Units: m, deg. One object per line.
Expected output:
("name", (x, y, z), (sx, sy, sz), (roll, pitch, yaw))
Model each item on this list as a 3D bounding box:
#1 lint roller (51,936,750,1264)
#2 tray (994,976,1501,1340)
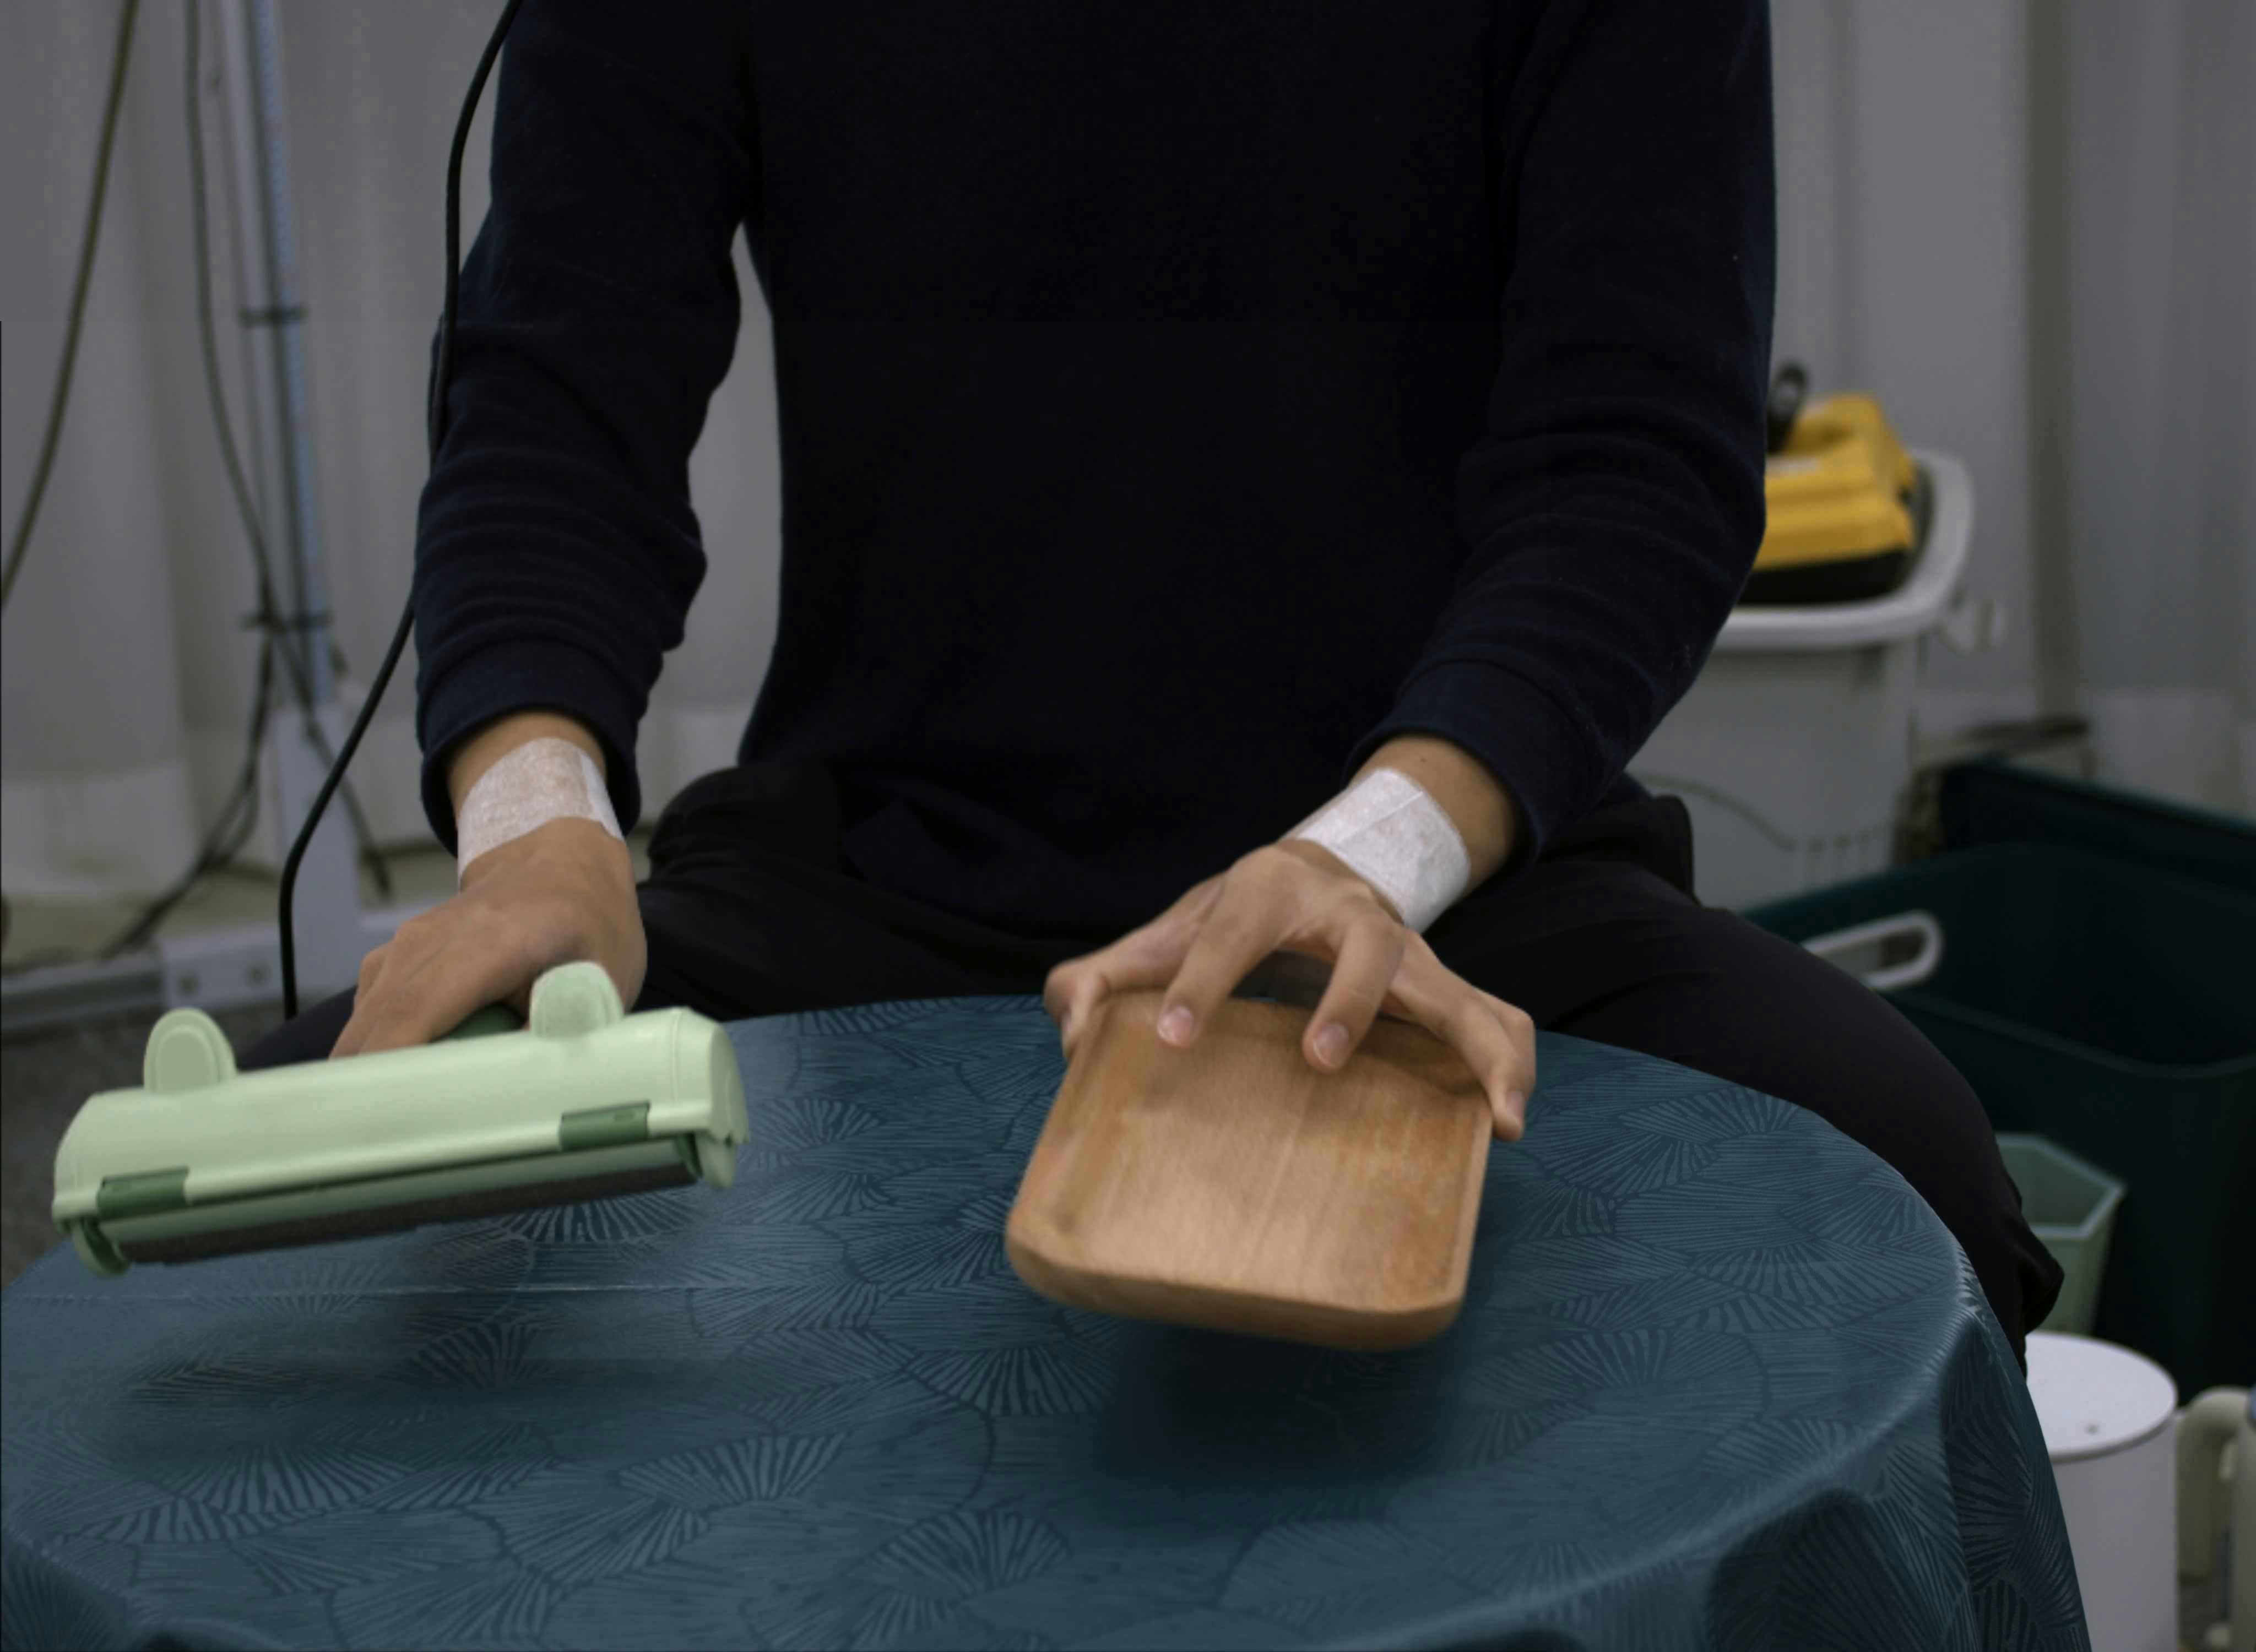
("lint roller", (-0.209, 0.058, 1.629), (0.198, 0.081, 0.185), (-8, 24, 6))
("tray", (0.038, 0.093, 1.578), (0.130, 0.023, 0.252), (11, 16, 5))
